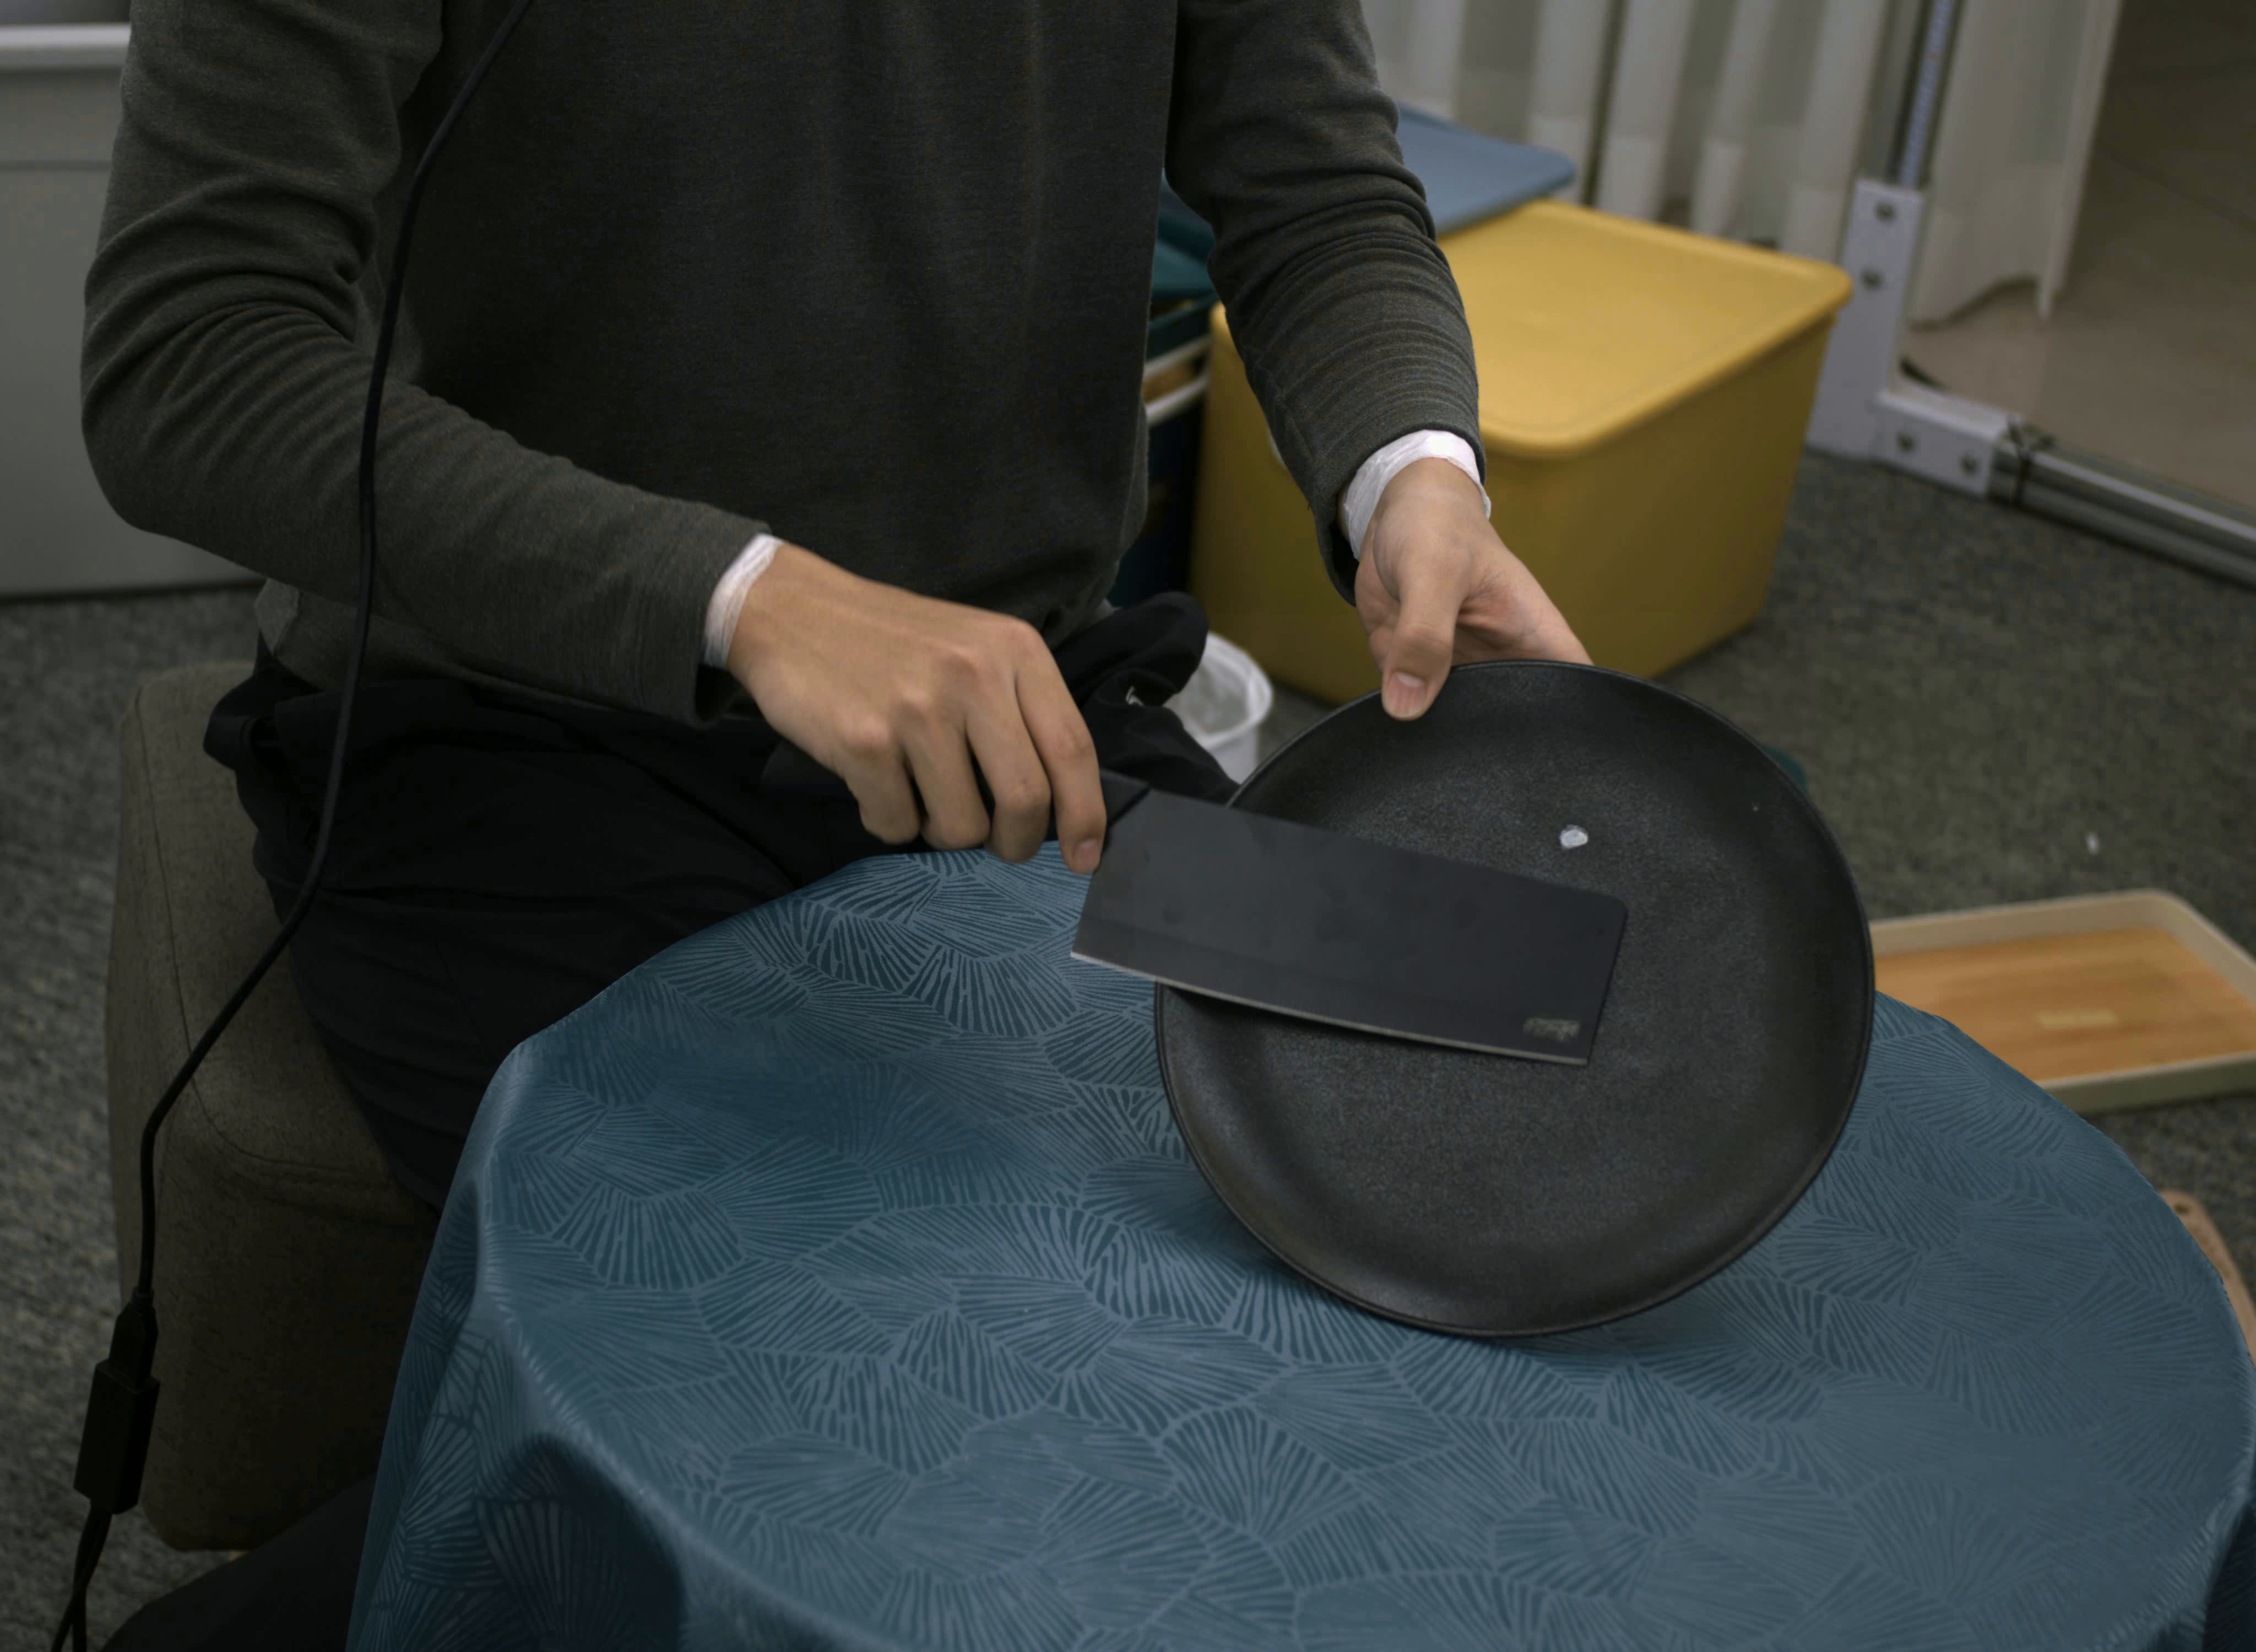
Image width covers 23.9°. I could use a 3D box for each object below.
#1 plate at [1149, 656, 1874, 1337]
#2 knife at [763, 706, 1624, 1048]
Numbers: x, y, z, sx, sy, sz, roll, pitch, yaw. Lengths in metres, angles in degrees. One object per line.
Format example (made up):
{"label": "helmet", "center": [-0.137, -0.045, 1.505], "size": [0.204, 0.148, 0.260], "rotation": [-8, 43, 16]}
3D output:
{"label": "plate", "center": [0.129, 0.058, 1.793], "size": [0.244, 0.023, 0.246], "rotation": [-4, 67, 9]}
{"label": "knife", "center": [0.019, 0.014, 1.820], "size": [0.302, 0.021, 0.081], "rotation": [17, 71, 12]}
